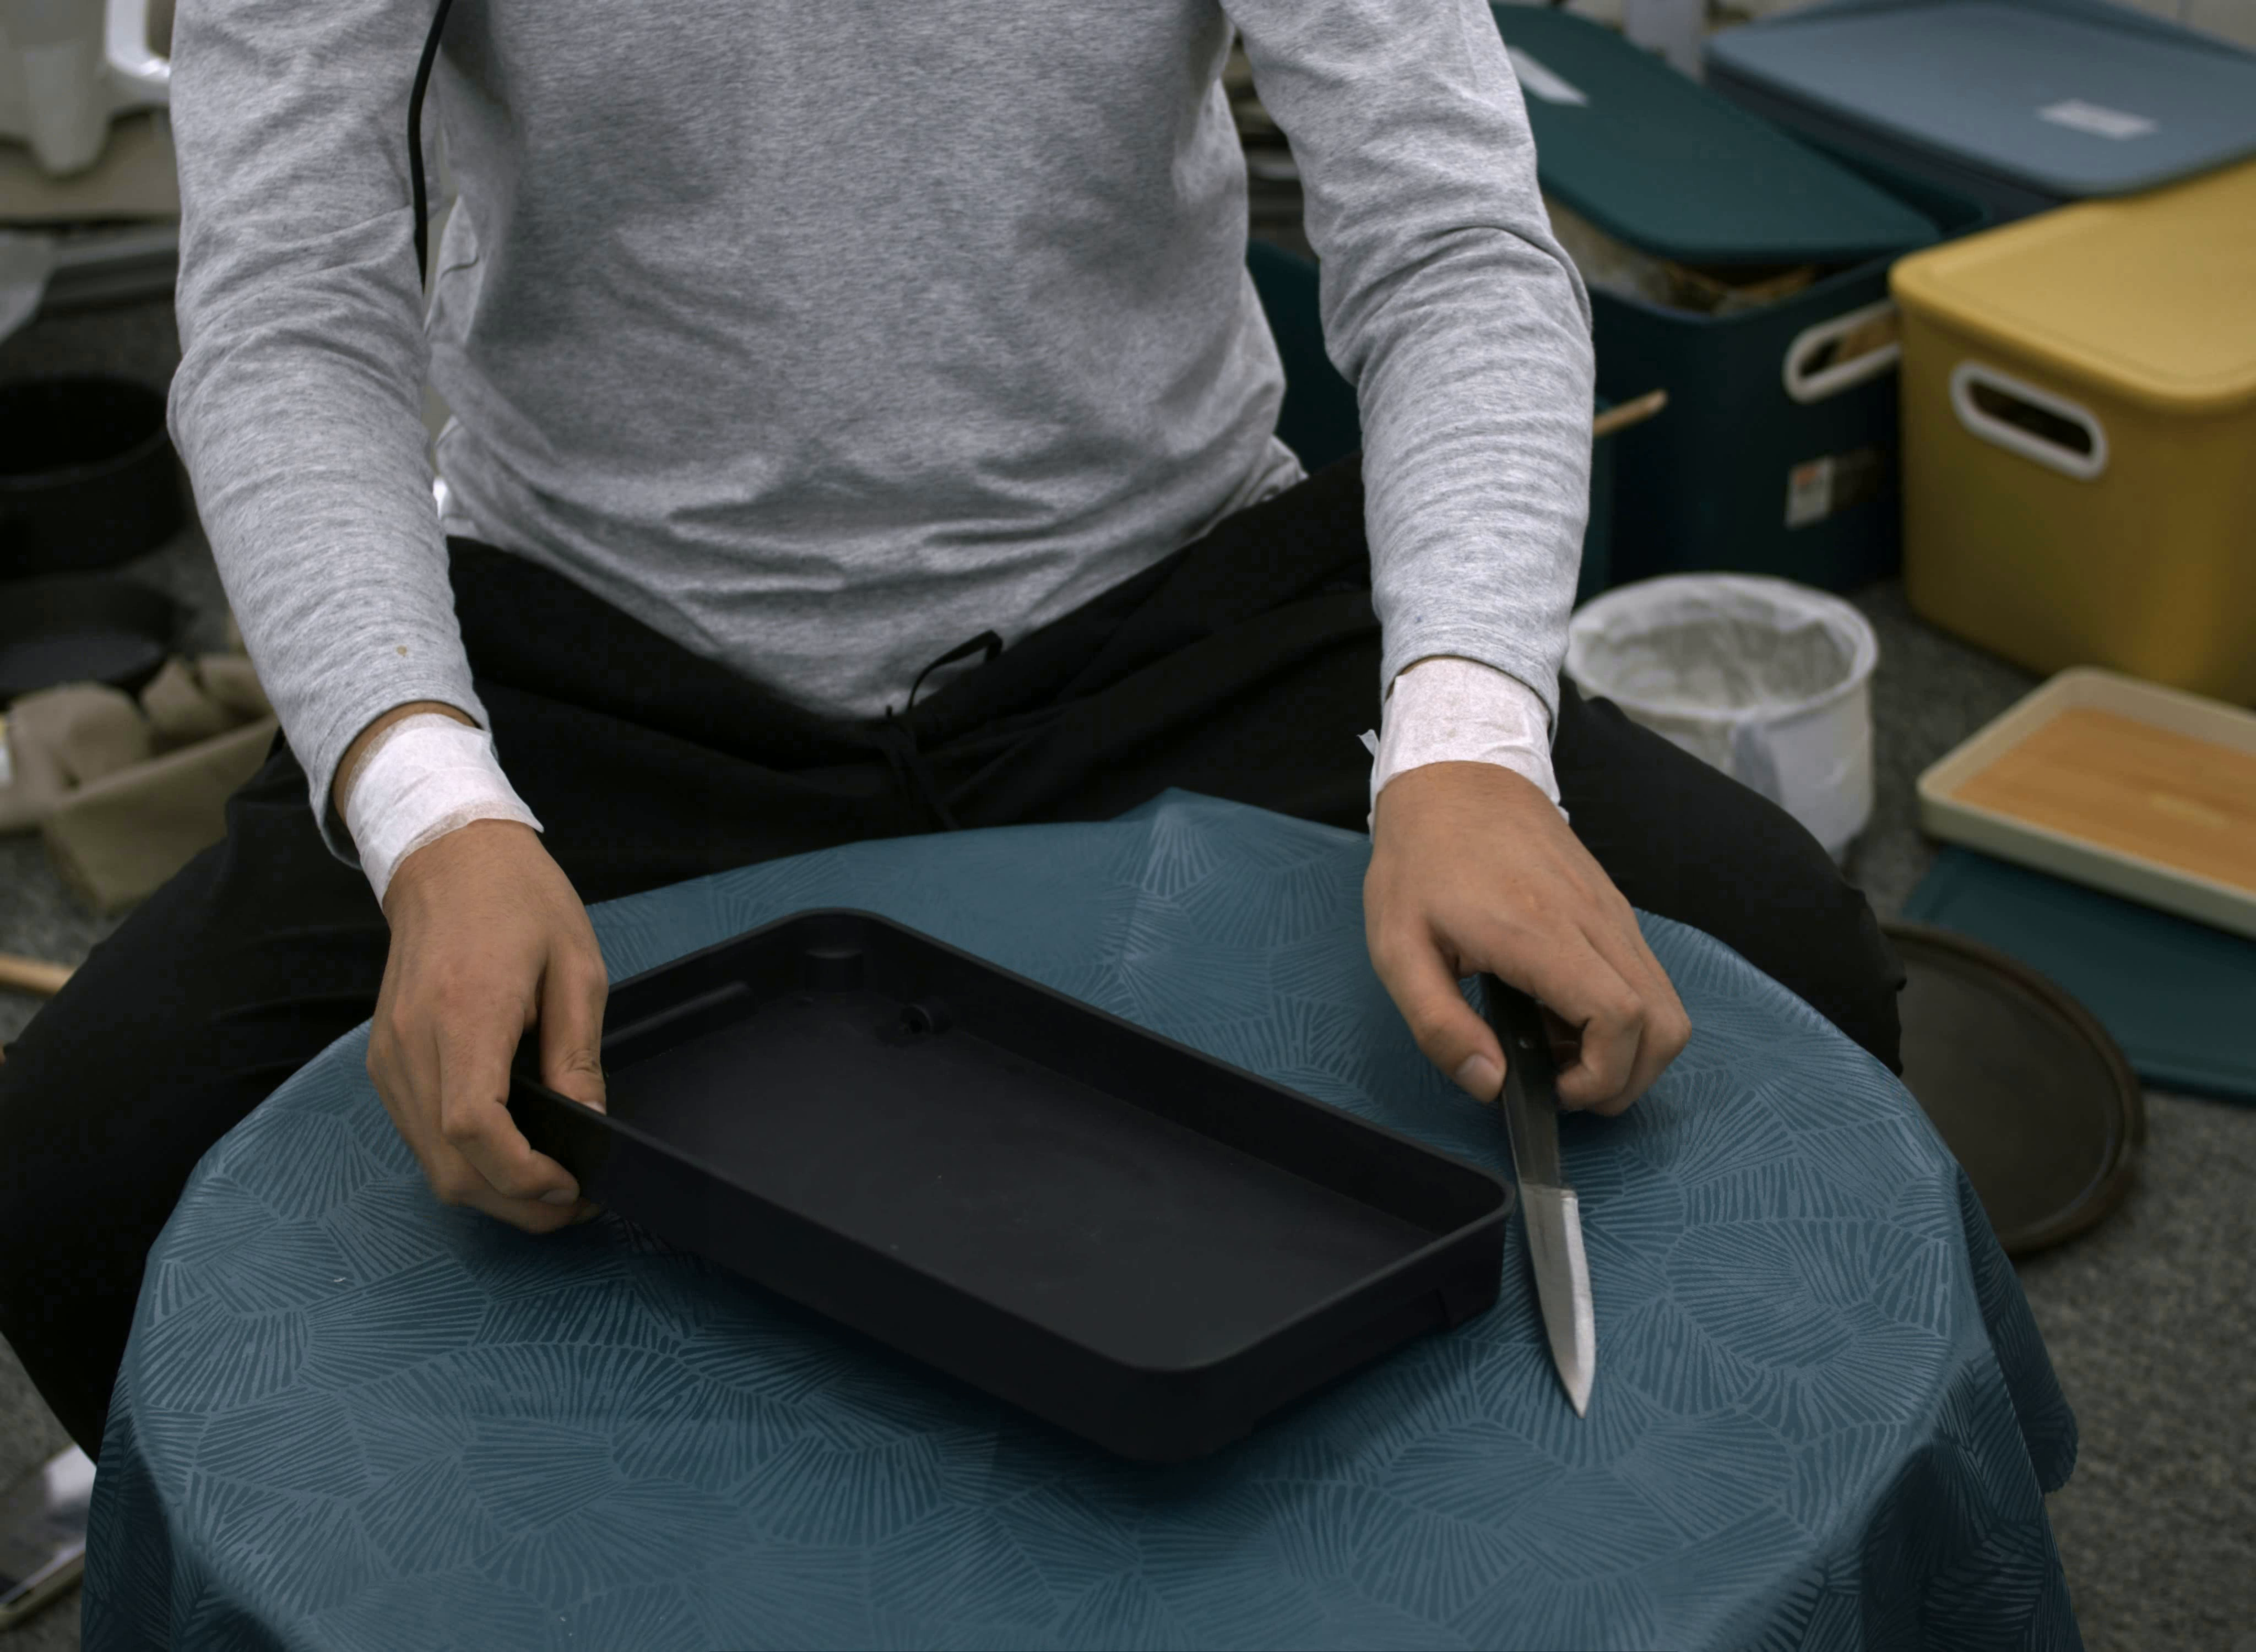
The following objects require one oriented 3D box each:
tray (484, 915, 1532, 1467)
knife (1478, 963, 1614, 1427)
[{"bbox_3d":[-0.042,0.113,1.820,0.317,0.037,0.186,20,28,36],"label":"tray"},{"bbox_3d":[0.135,0.117,1.829,0.024,0.016,0.242,17,31,-15],"label":"knife"}]
